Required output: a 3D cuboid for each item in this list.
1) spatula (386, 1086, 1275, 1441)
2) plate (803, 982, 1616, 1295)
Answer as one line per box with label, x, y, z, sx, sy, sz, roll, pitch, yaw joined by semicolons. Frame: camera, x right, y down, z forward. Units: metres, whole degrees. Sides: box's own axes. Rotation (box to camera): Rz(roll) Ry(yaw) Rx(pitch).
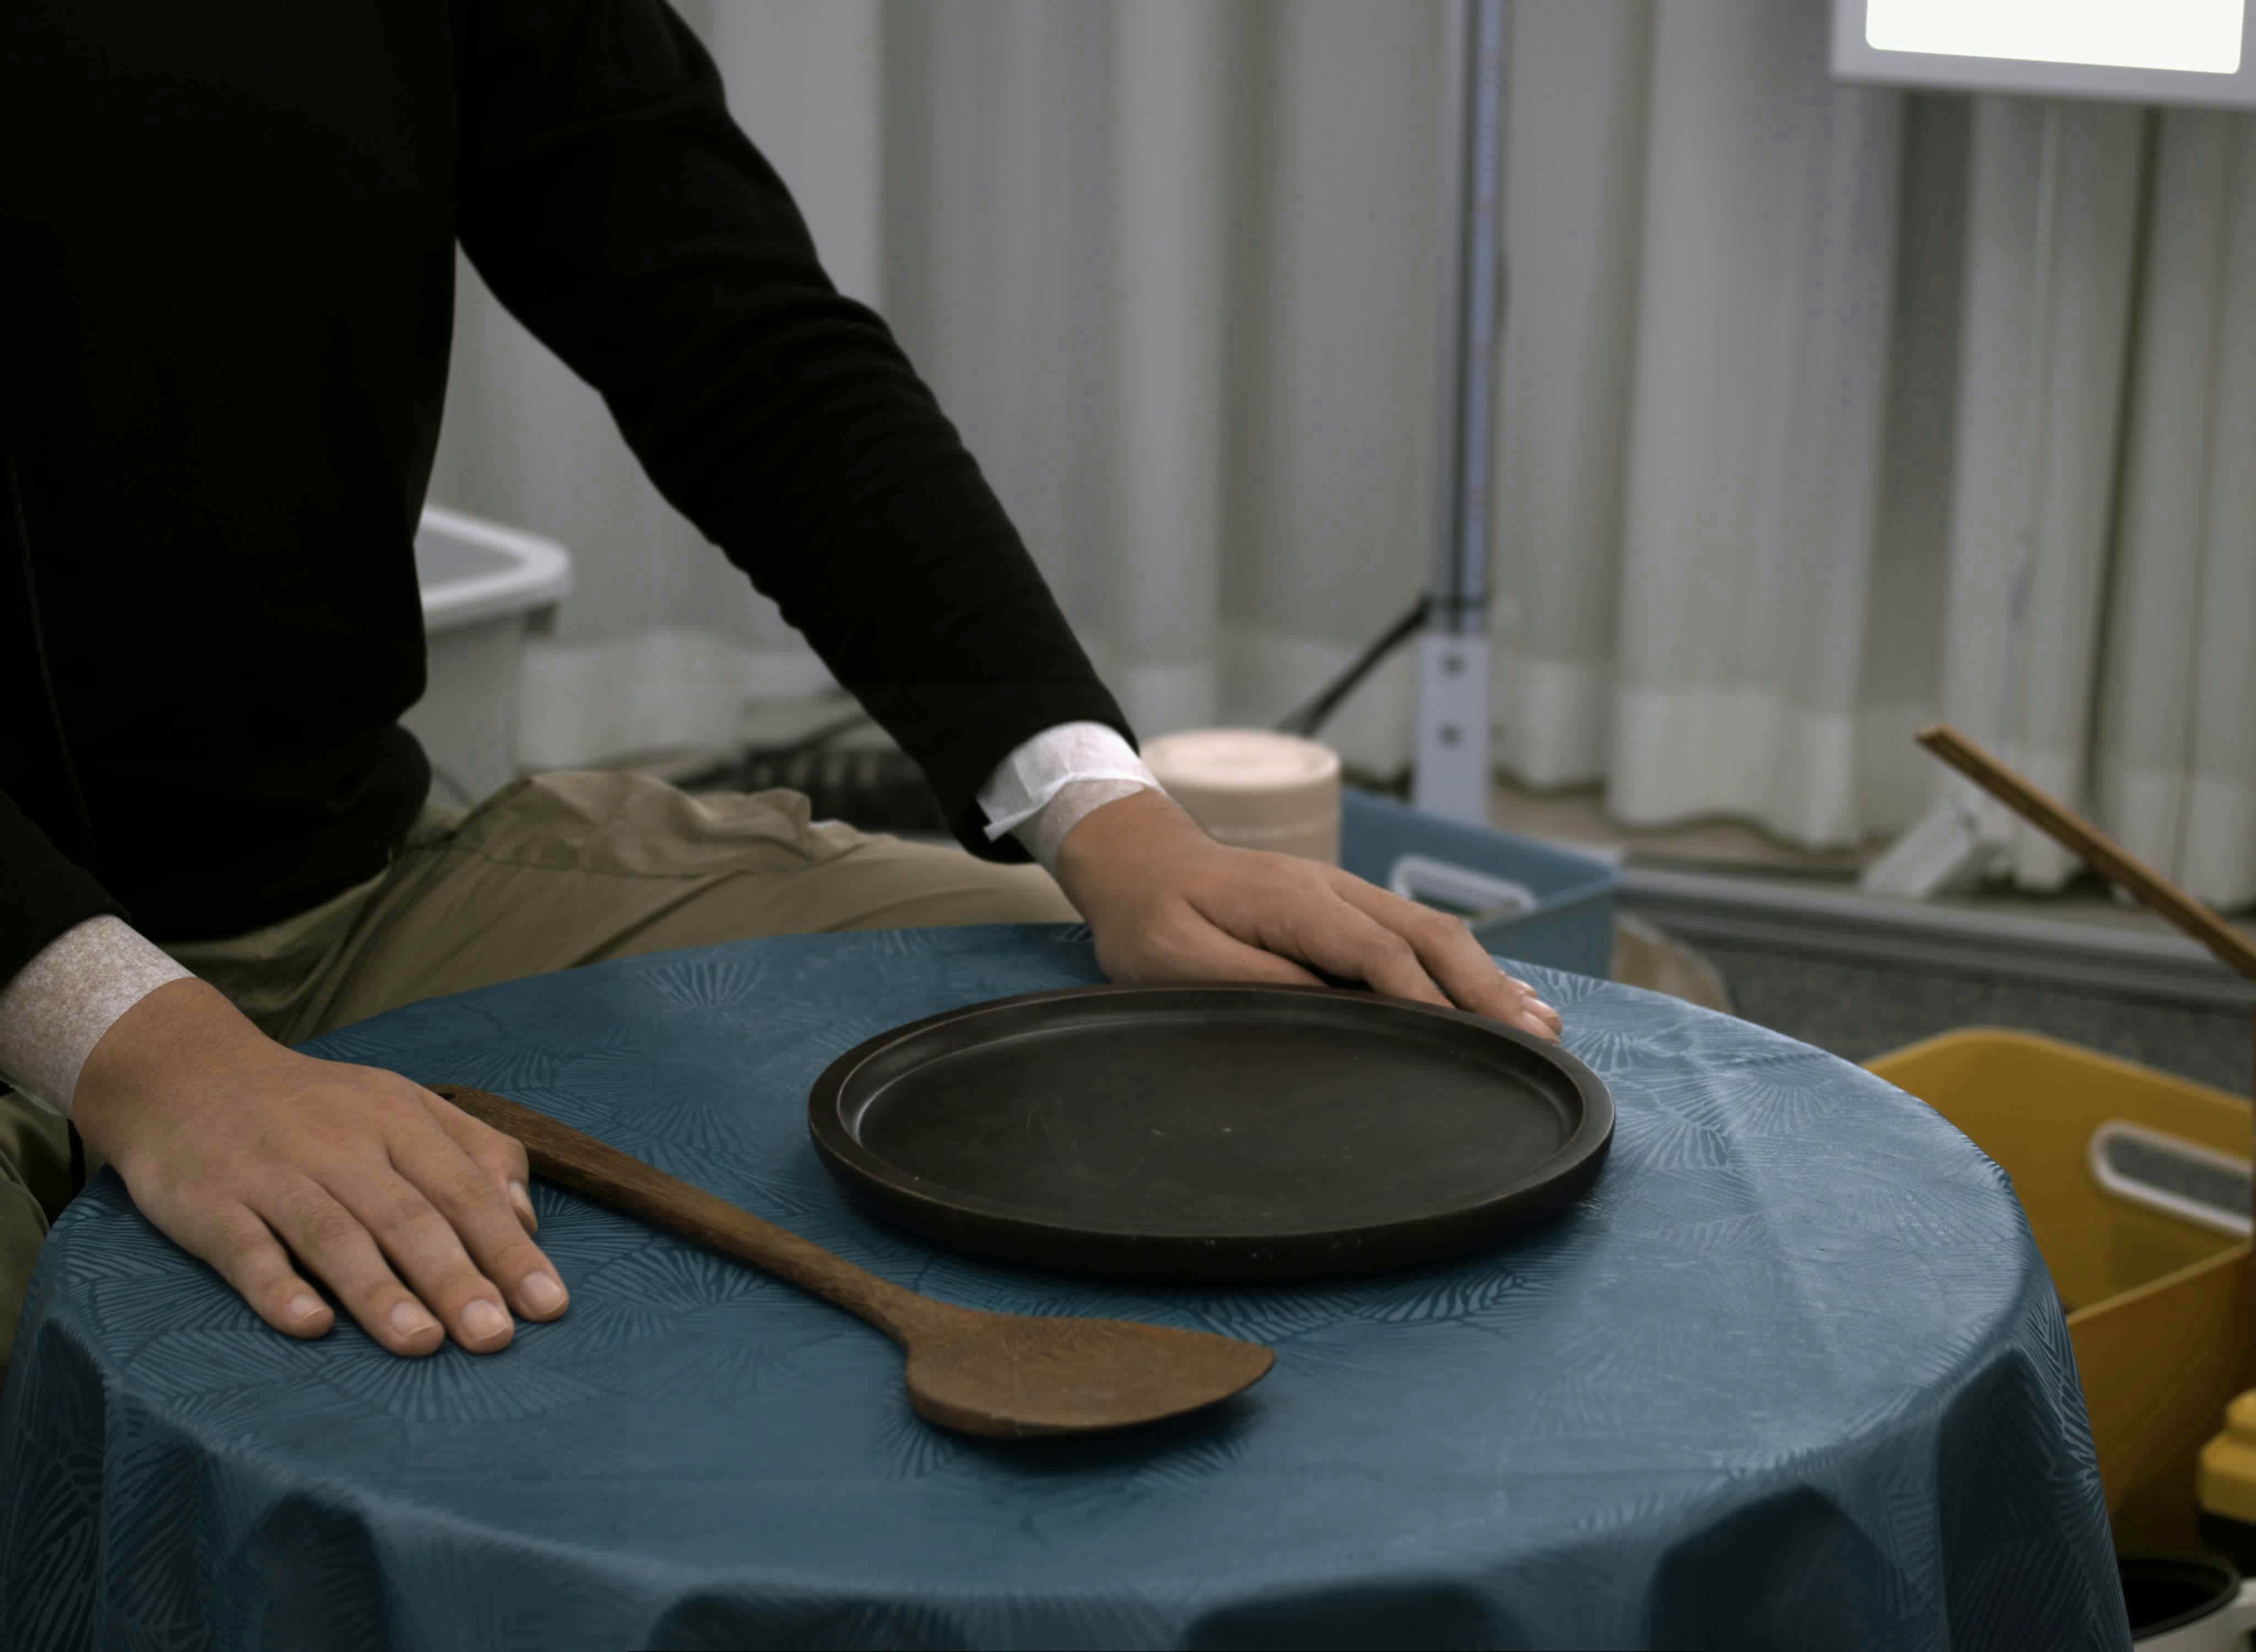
spatula;-0.109;0.123;1.552;0.096;0.016;0.381;-12;19;-40
plate;0.025;0.095;1.642;0.254;0.029;0.253;2;16;0
